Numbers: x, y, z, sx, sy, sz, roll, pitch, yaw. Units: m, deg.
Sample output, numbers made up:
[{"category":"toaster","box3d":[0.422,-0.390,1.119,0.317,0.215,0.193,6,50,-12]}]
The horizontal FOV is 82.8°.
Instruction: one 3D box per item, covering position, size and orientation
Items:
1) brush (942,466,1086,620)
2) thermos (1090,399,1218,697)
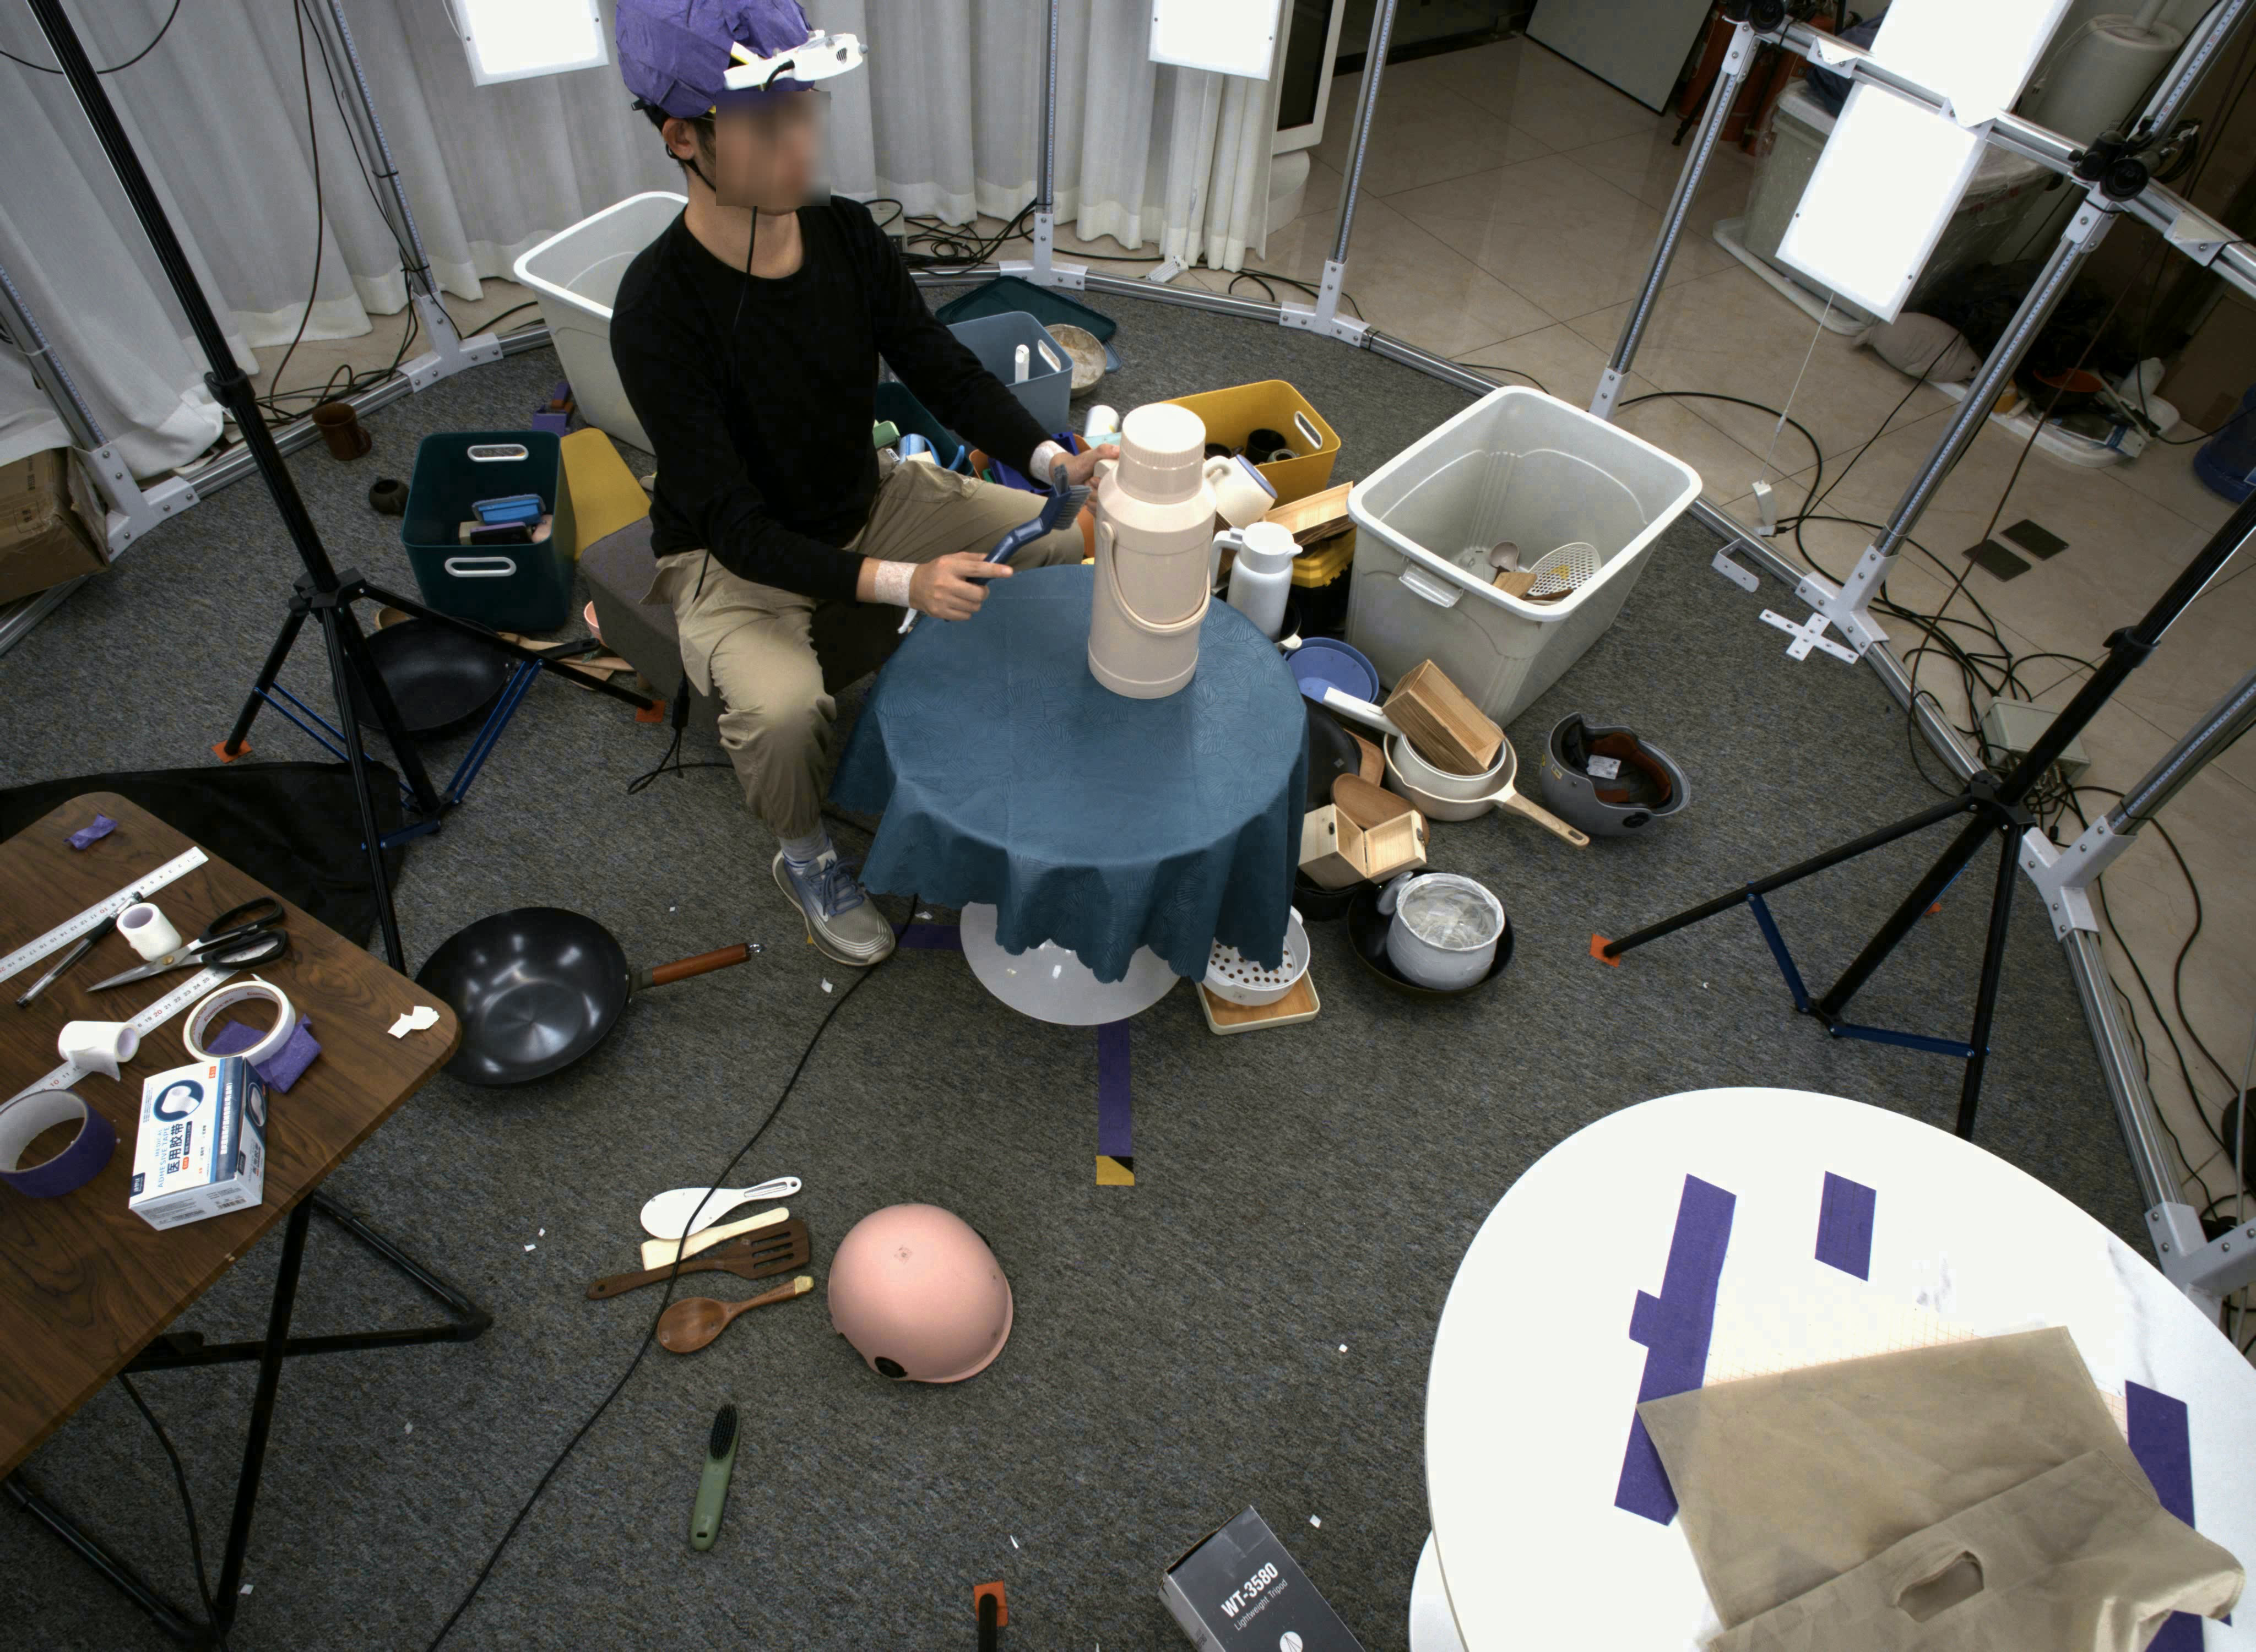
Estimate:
[{"category":"brush","box3d":[-0.163,-0.362,1.666,0.094,0.271,0.034,16,47,-53]},{"category":"thermos","box3d":[0.026,-0.378,1.744,0.176,0.396,0.210,-31,59,-25]}]
